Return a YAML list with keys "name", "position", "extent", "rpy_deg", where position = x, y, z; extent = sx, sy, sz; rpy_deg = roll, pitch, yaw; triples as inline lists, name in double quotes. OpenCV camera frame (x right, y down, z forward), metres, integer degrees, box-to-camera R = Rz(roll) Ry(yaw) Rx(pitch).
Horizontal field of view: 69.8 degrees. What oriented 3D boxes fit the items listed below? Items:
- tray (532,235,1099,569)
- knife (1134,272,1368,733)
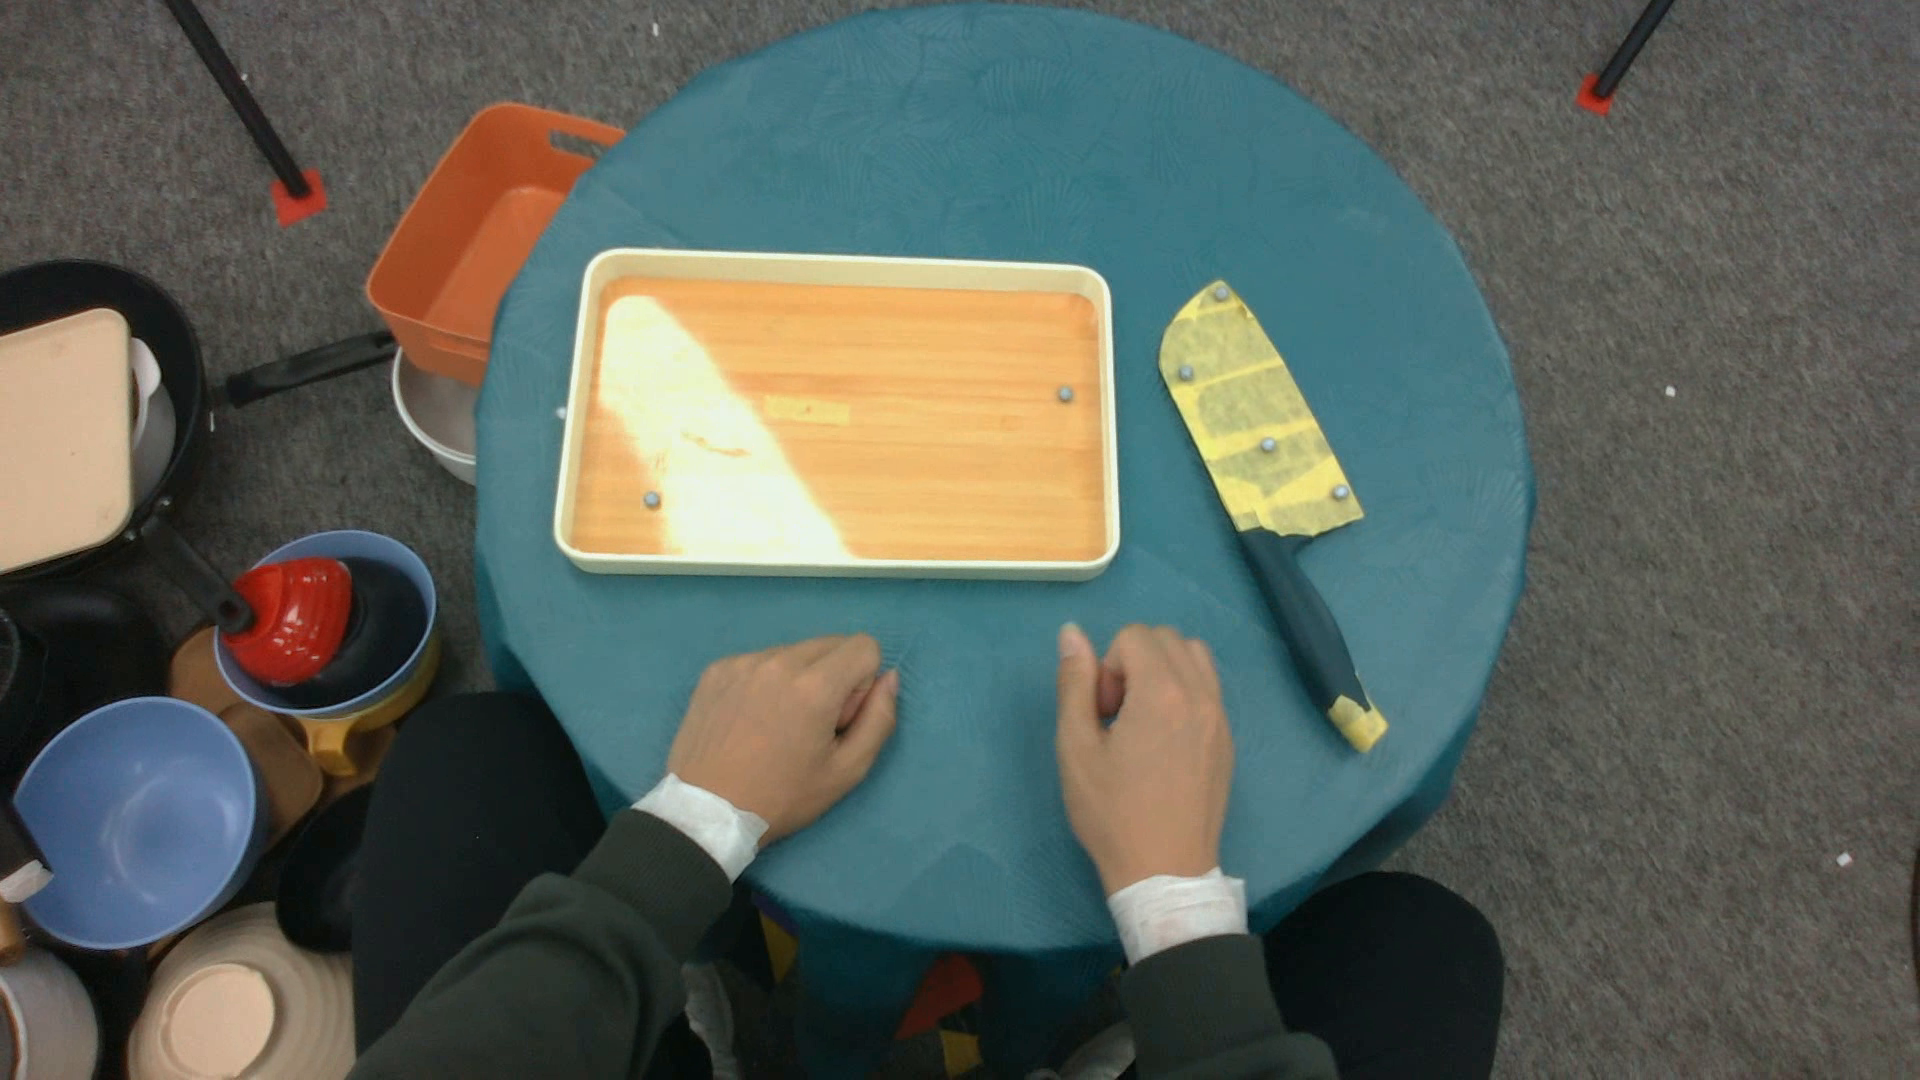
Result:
- name: "tray"
  position: [-0.075, -0.078, 0.766]
  extent: [0.300, 0.027, 0.192]
  rpy_deg: [1, 70, -4]
- name: "knife"
  position: [0.171, -0.031, 0.774]
  extent: [0.081, 0.027, 0.290]
  rpy_deg: [-15, 70, -9]
